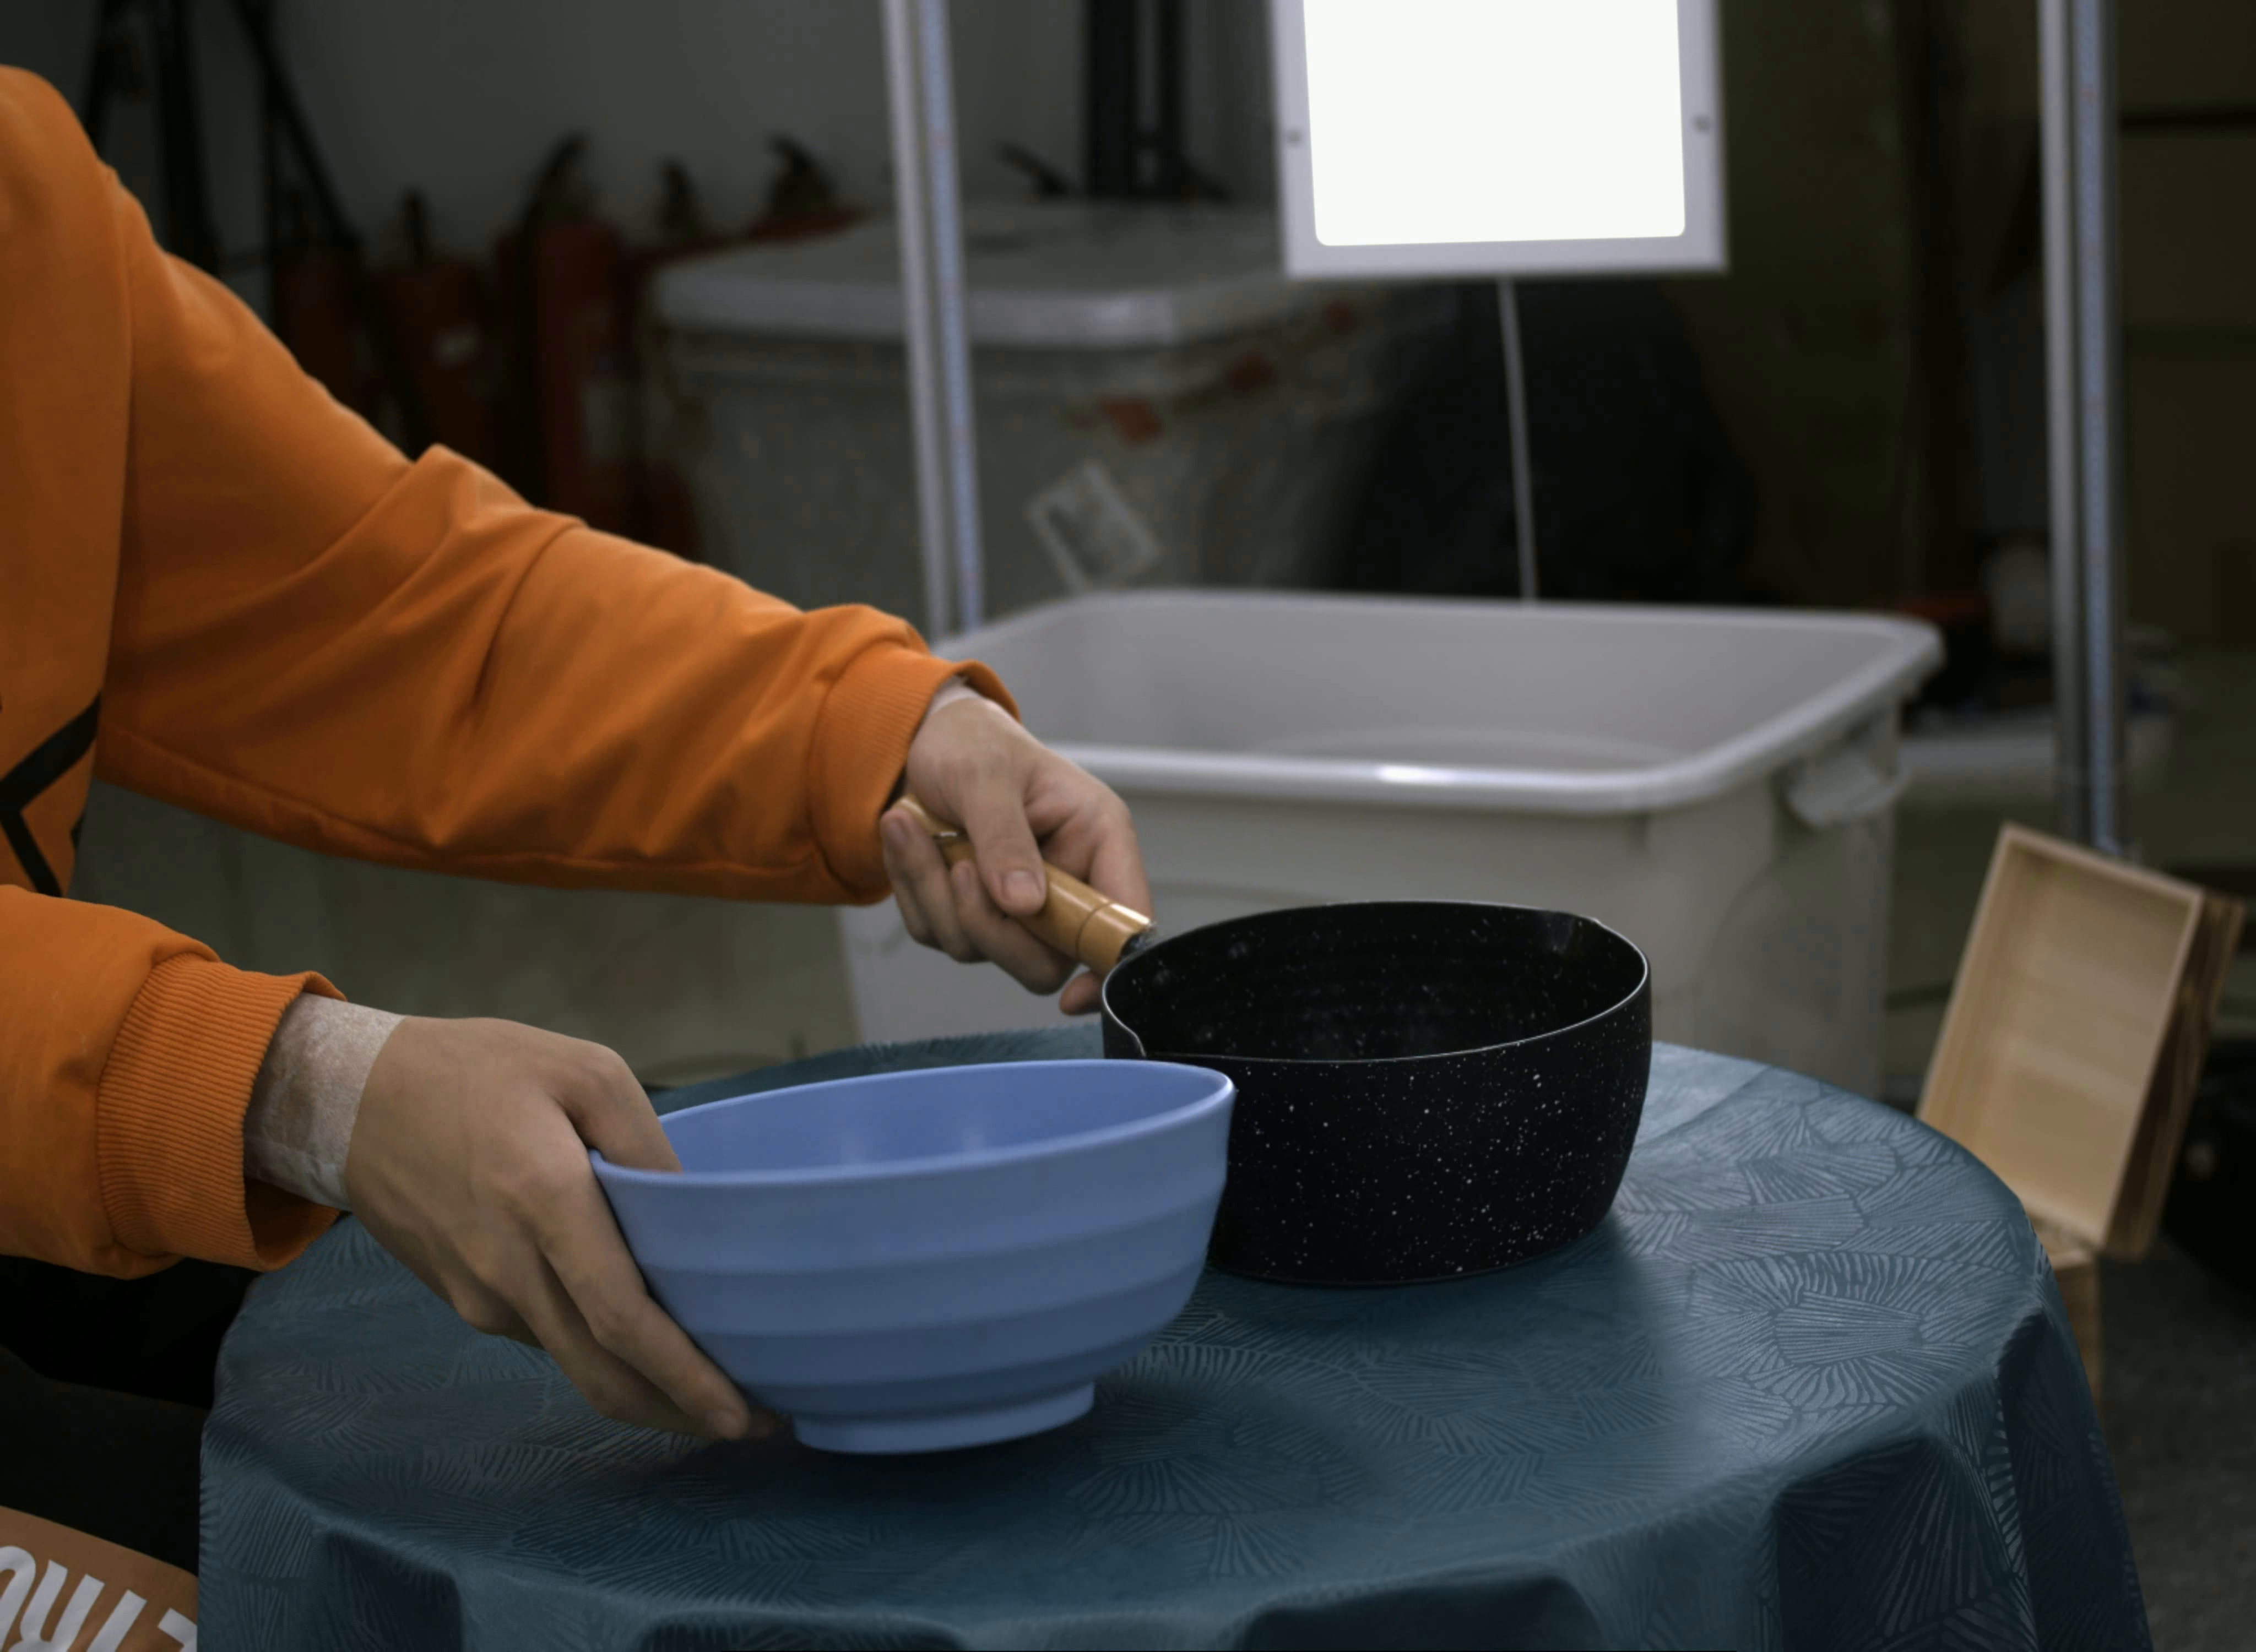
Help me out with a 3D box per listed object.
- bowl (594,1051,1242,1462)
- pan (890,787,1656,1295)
[{"bbox_3d":[-0.059,0.134,1.661,0.196,0.096,0.196,-6,8,0],"label":"bowl"},{"bbox_3d":[0.032,0.067,1.890,0.202,0.108,0.350,-18,21,-38],"label":"pan"}]
